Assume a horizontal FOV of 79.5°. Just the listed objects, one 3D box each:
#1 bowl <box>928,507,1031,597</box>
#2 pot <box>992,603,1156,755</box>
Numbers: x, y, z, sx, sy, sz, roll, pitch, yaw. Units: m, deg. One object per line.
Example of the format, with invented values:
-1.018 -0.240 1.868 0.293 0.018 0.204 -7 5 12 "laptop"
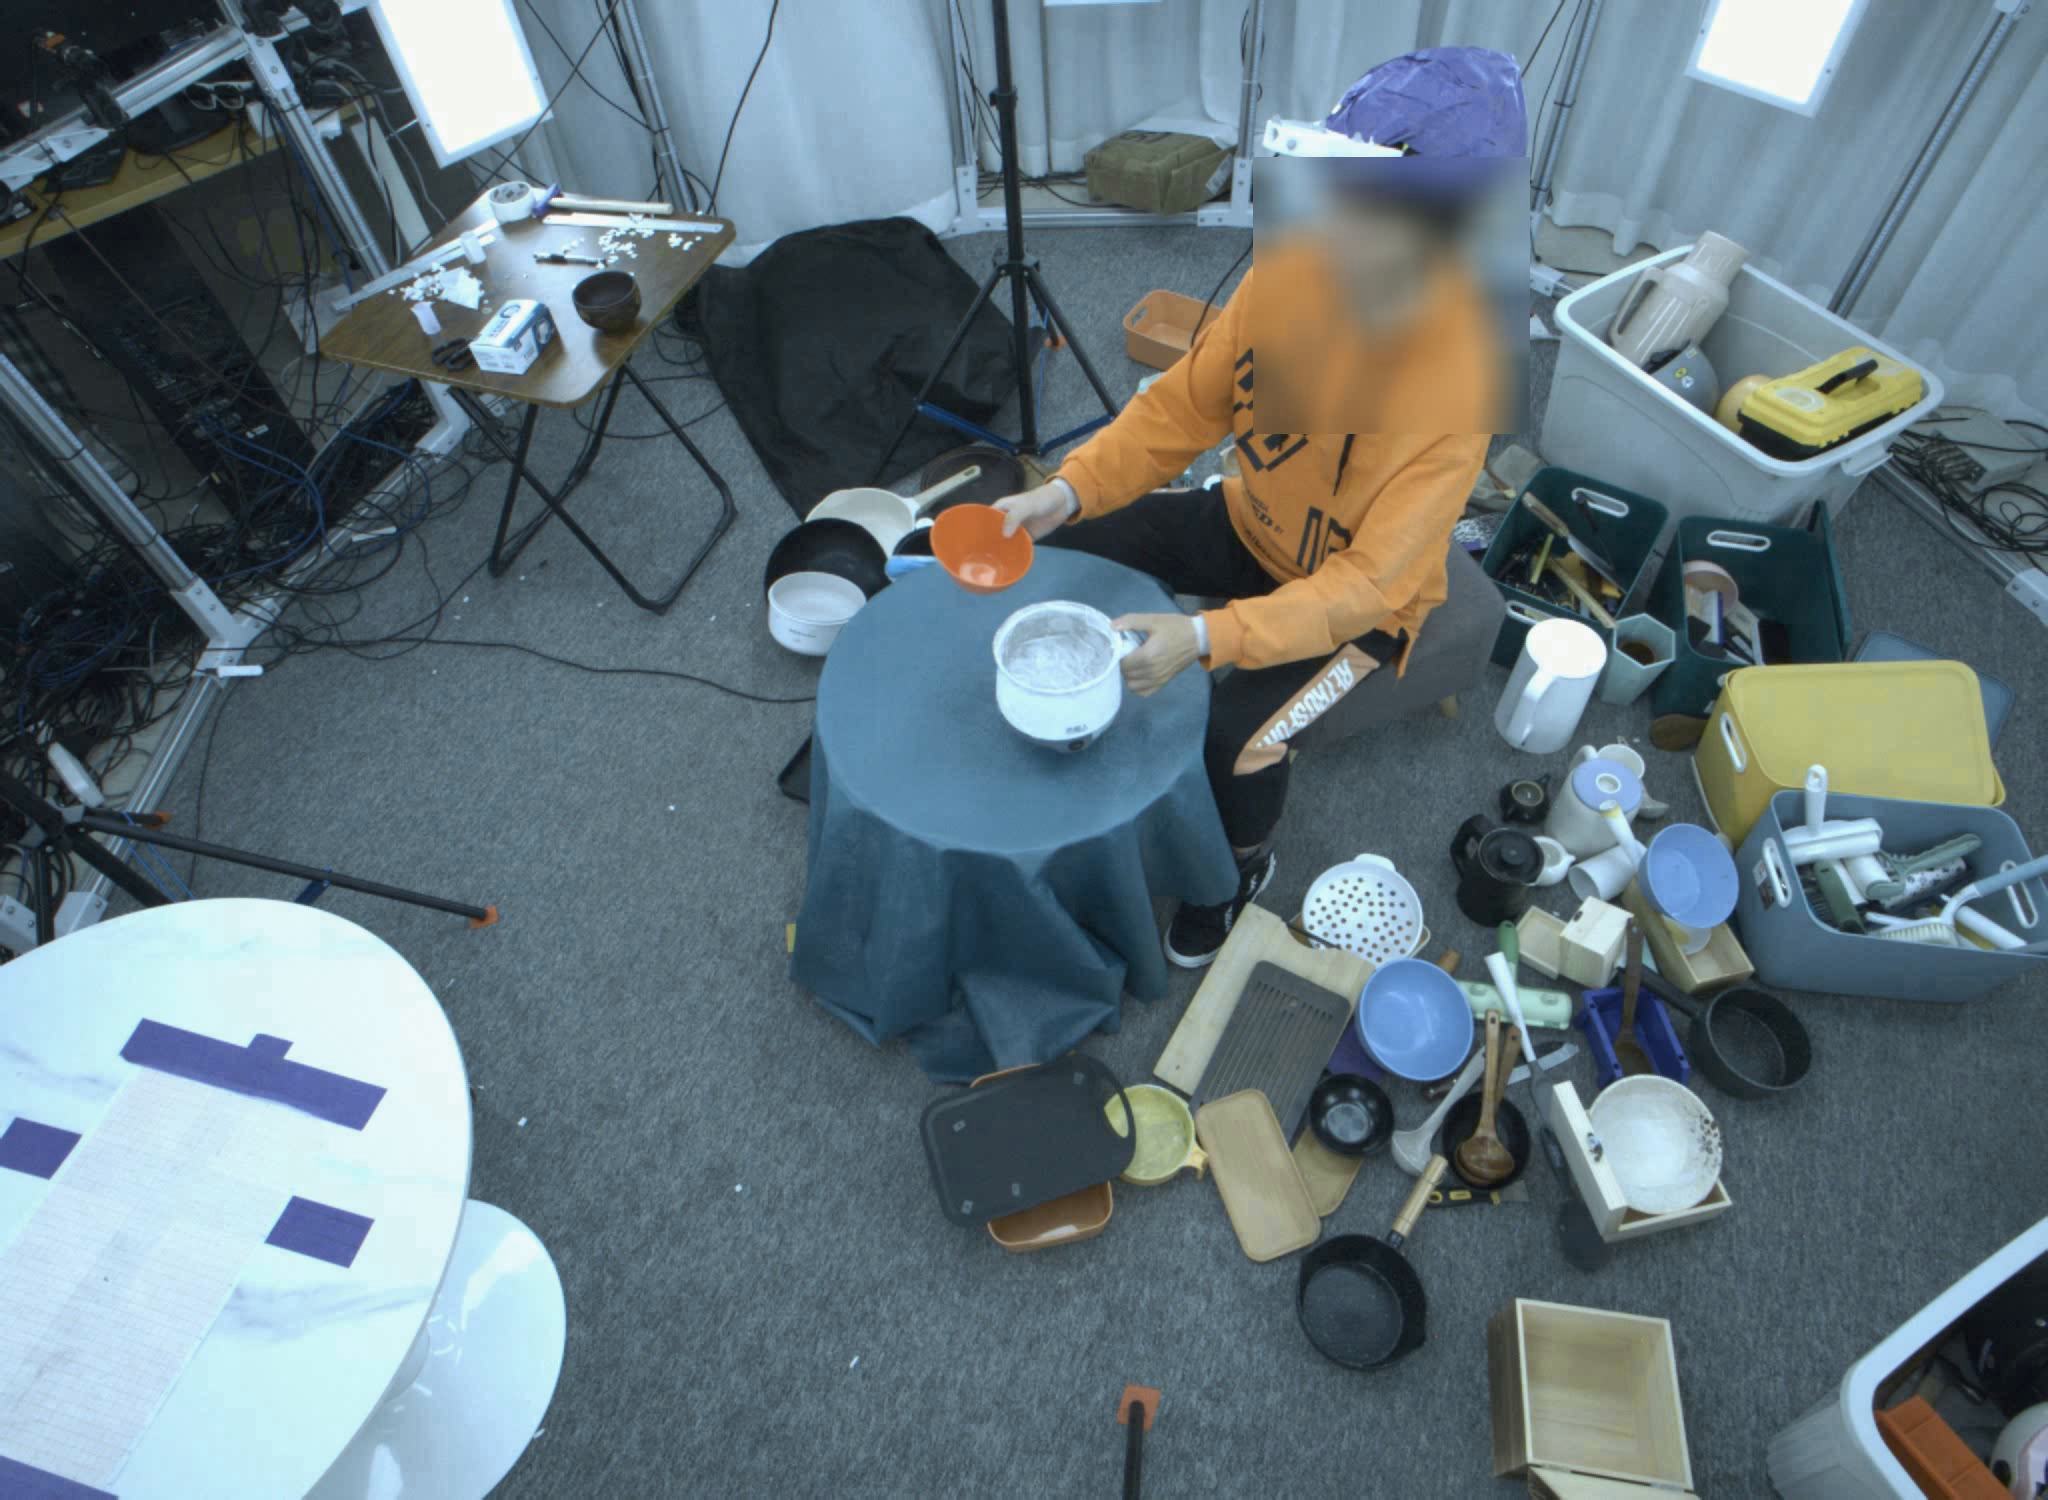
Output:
-0.069 -0.269 1.756 0.149 0.105 0.147 5 64 -9 "bowl"
0.074 -0.107 1.734 0.235 0.138 0.175 -15 53 -10 "pot"
